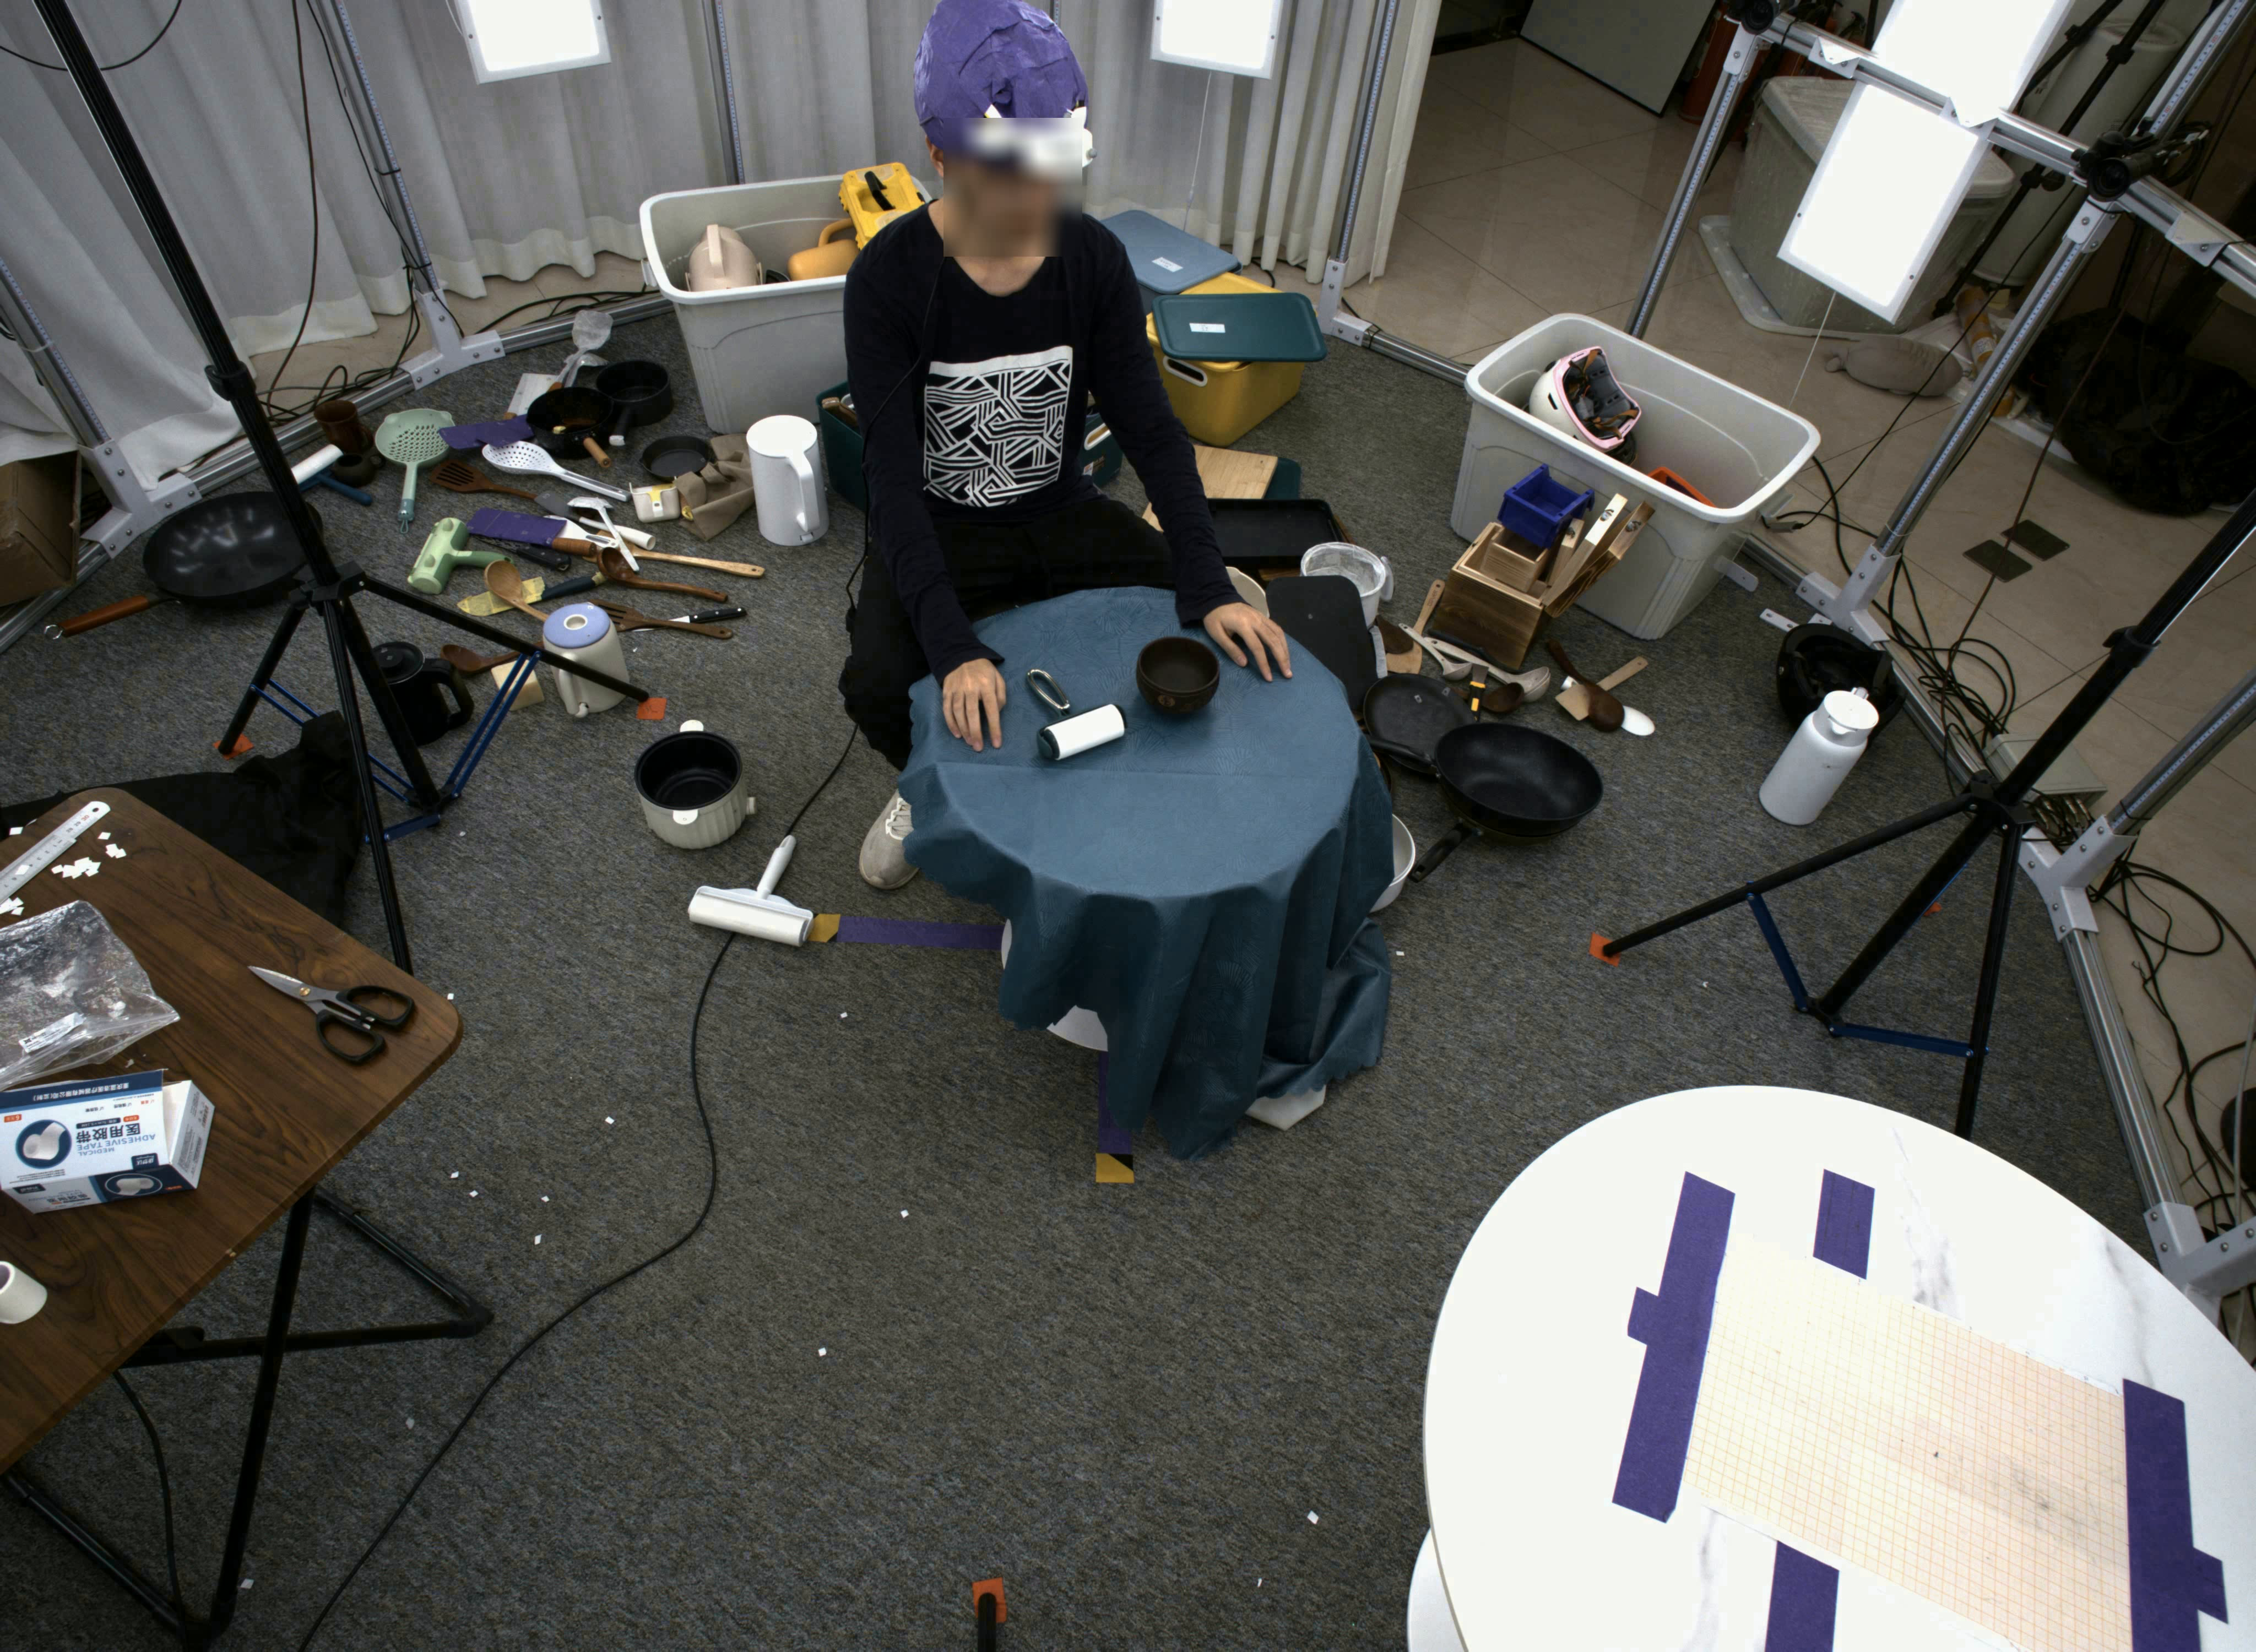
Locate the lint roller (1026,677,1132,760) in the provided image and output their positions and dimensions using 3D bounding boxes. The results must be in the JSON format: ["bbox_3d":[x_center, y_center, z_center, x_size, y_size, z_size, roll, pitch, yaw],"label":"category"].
[{"bbox_3d":[-0.094,-0.171,1.785,0.135,0.047,0.184,-22,50,-21],"label":"lint roller"}]

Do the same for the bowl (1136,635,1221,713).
[{"bbox_3d":[0.070,-0.205,1.803,0.118,0.068,0.121,1,48,-1],"label":"bowl"}]
